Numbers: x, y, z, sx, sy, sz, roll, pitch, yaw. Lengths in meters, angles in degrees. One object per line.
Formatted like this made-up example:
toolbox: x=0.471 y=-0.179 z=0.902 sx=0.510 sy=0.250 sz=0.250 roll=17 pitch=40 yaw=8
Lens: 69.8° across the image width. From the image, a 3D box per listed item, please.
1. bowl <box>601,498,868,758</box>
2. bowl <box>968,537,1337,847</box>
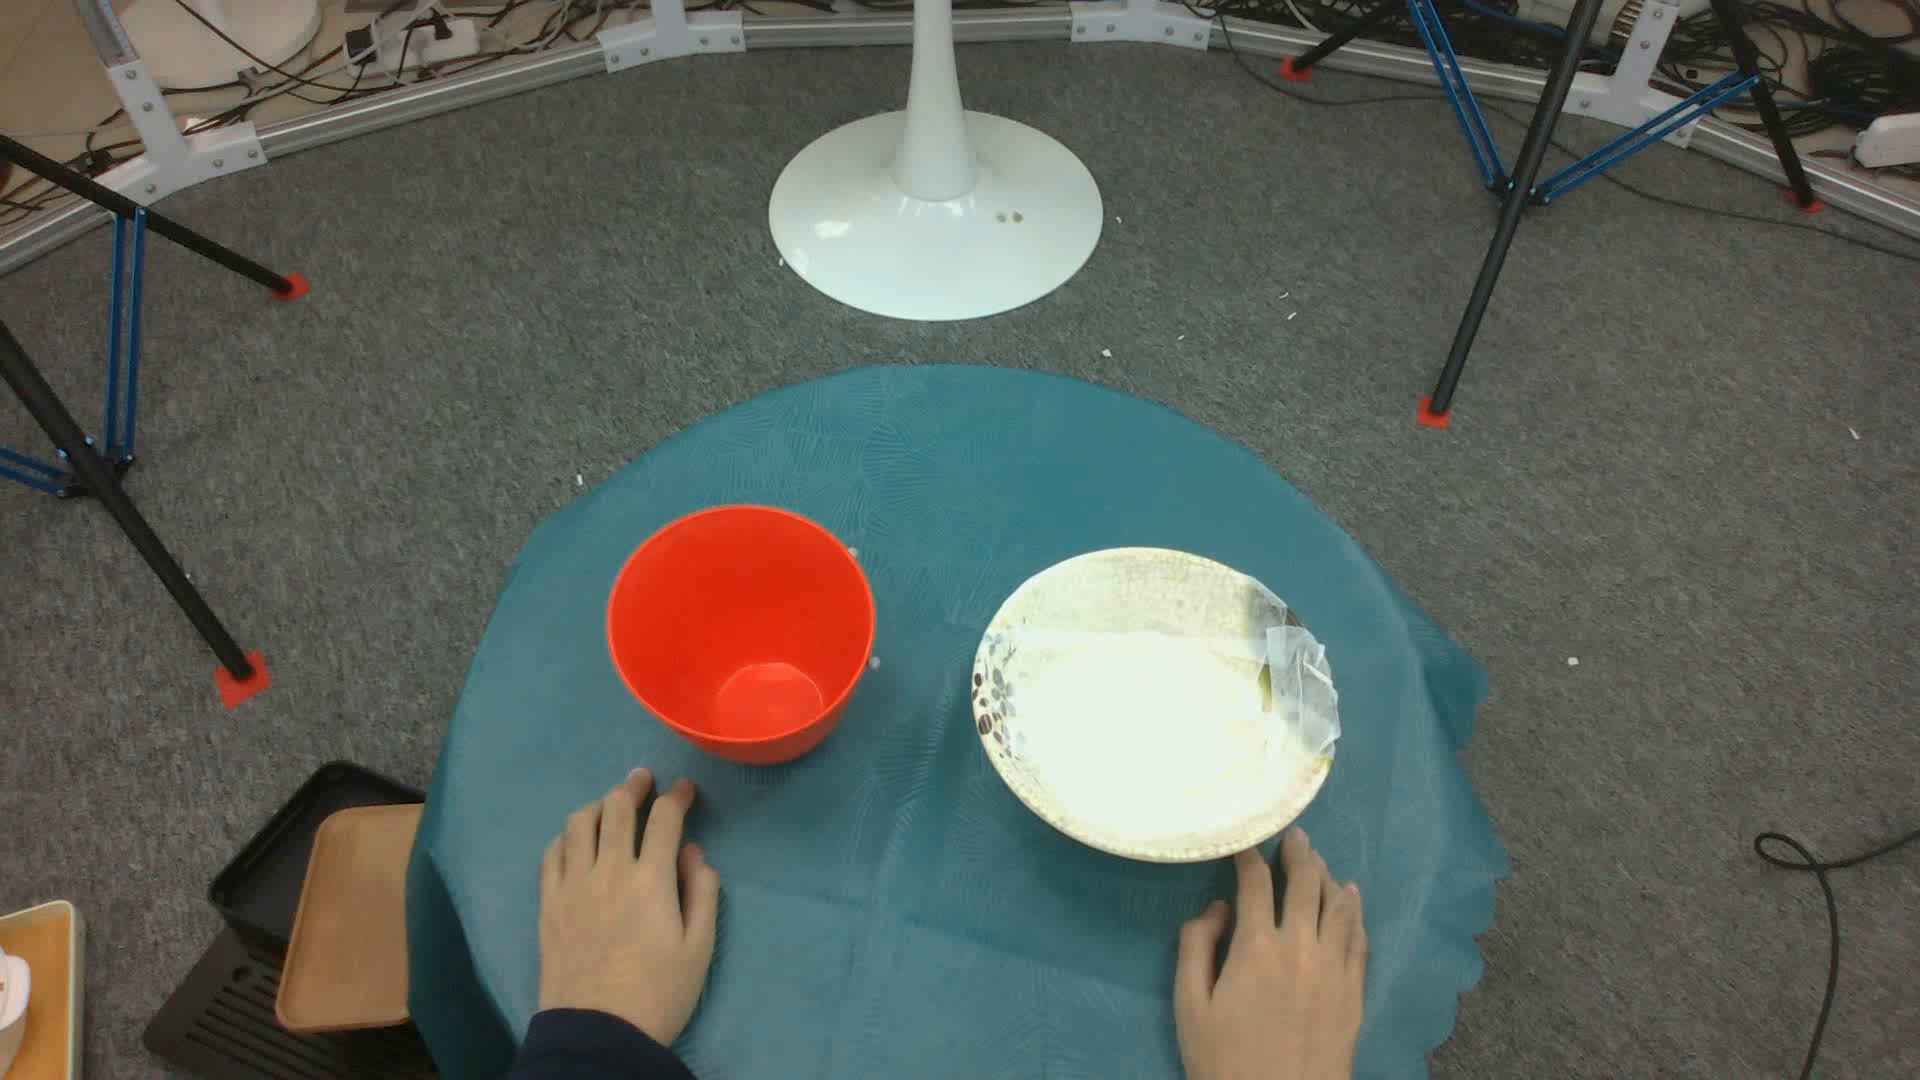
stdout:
bowl: x=-0.126 y=0.064 z=0.801 sx=0.148 sy=0.104 sz=0.148 roll=1 pitch=52 yaw=-1
bowl: x=0.106 y=0.099 z=0.793 sx=0.204 sy=0.077 sz=0.205 roll=0 pitch=51 yaw=0
